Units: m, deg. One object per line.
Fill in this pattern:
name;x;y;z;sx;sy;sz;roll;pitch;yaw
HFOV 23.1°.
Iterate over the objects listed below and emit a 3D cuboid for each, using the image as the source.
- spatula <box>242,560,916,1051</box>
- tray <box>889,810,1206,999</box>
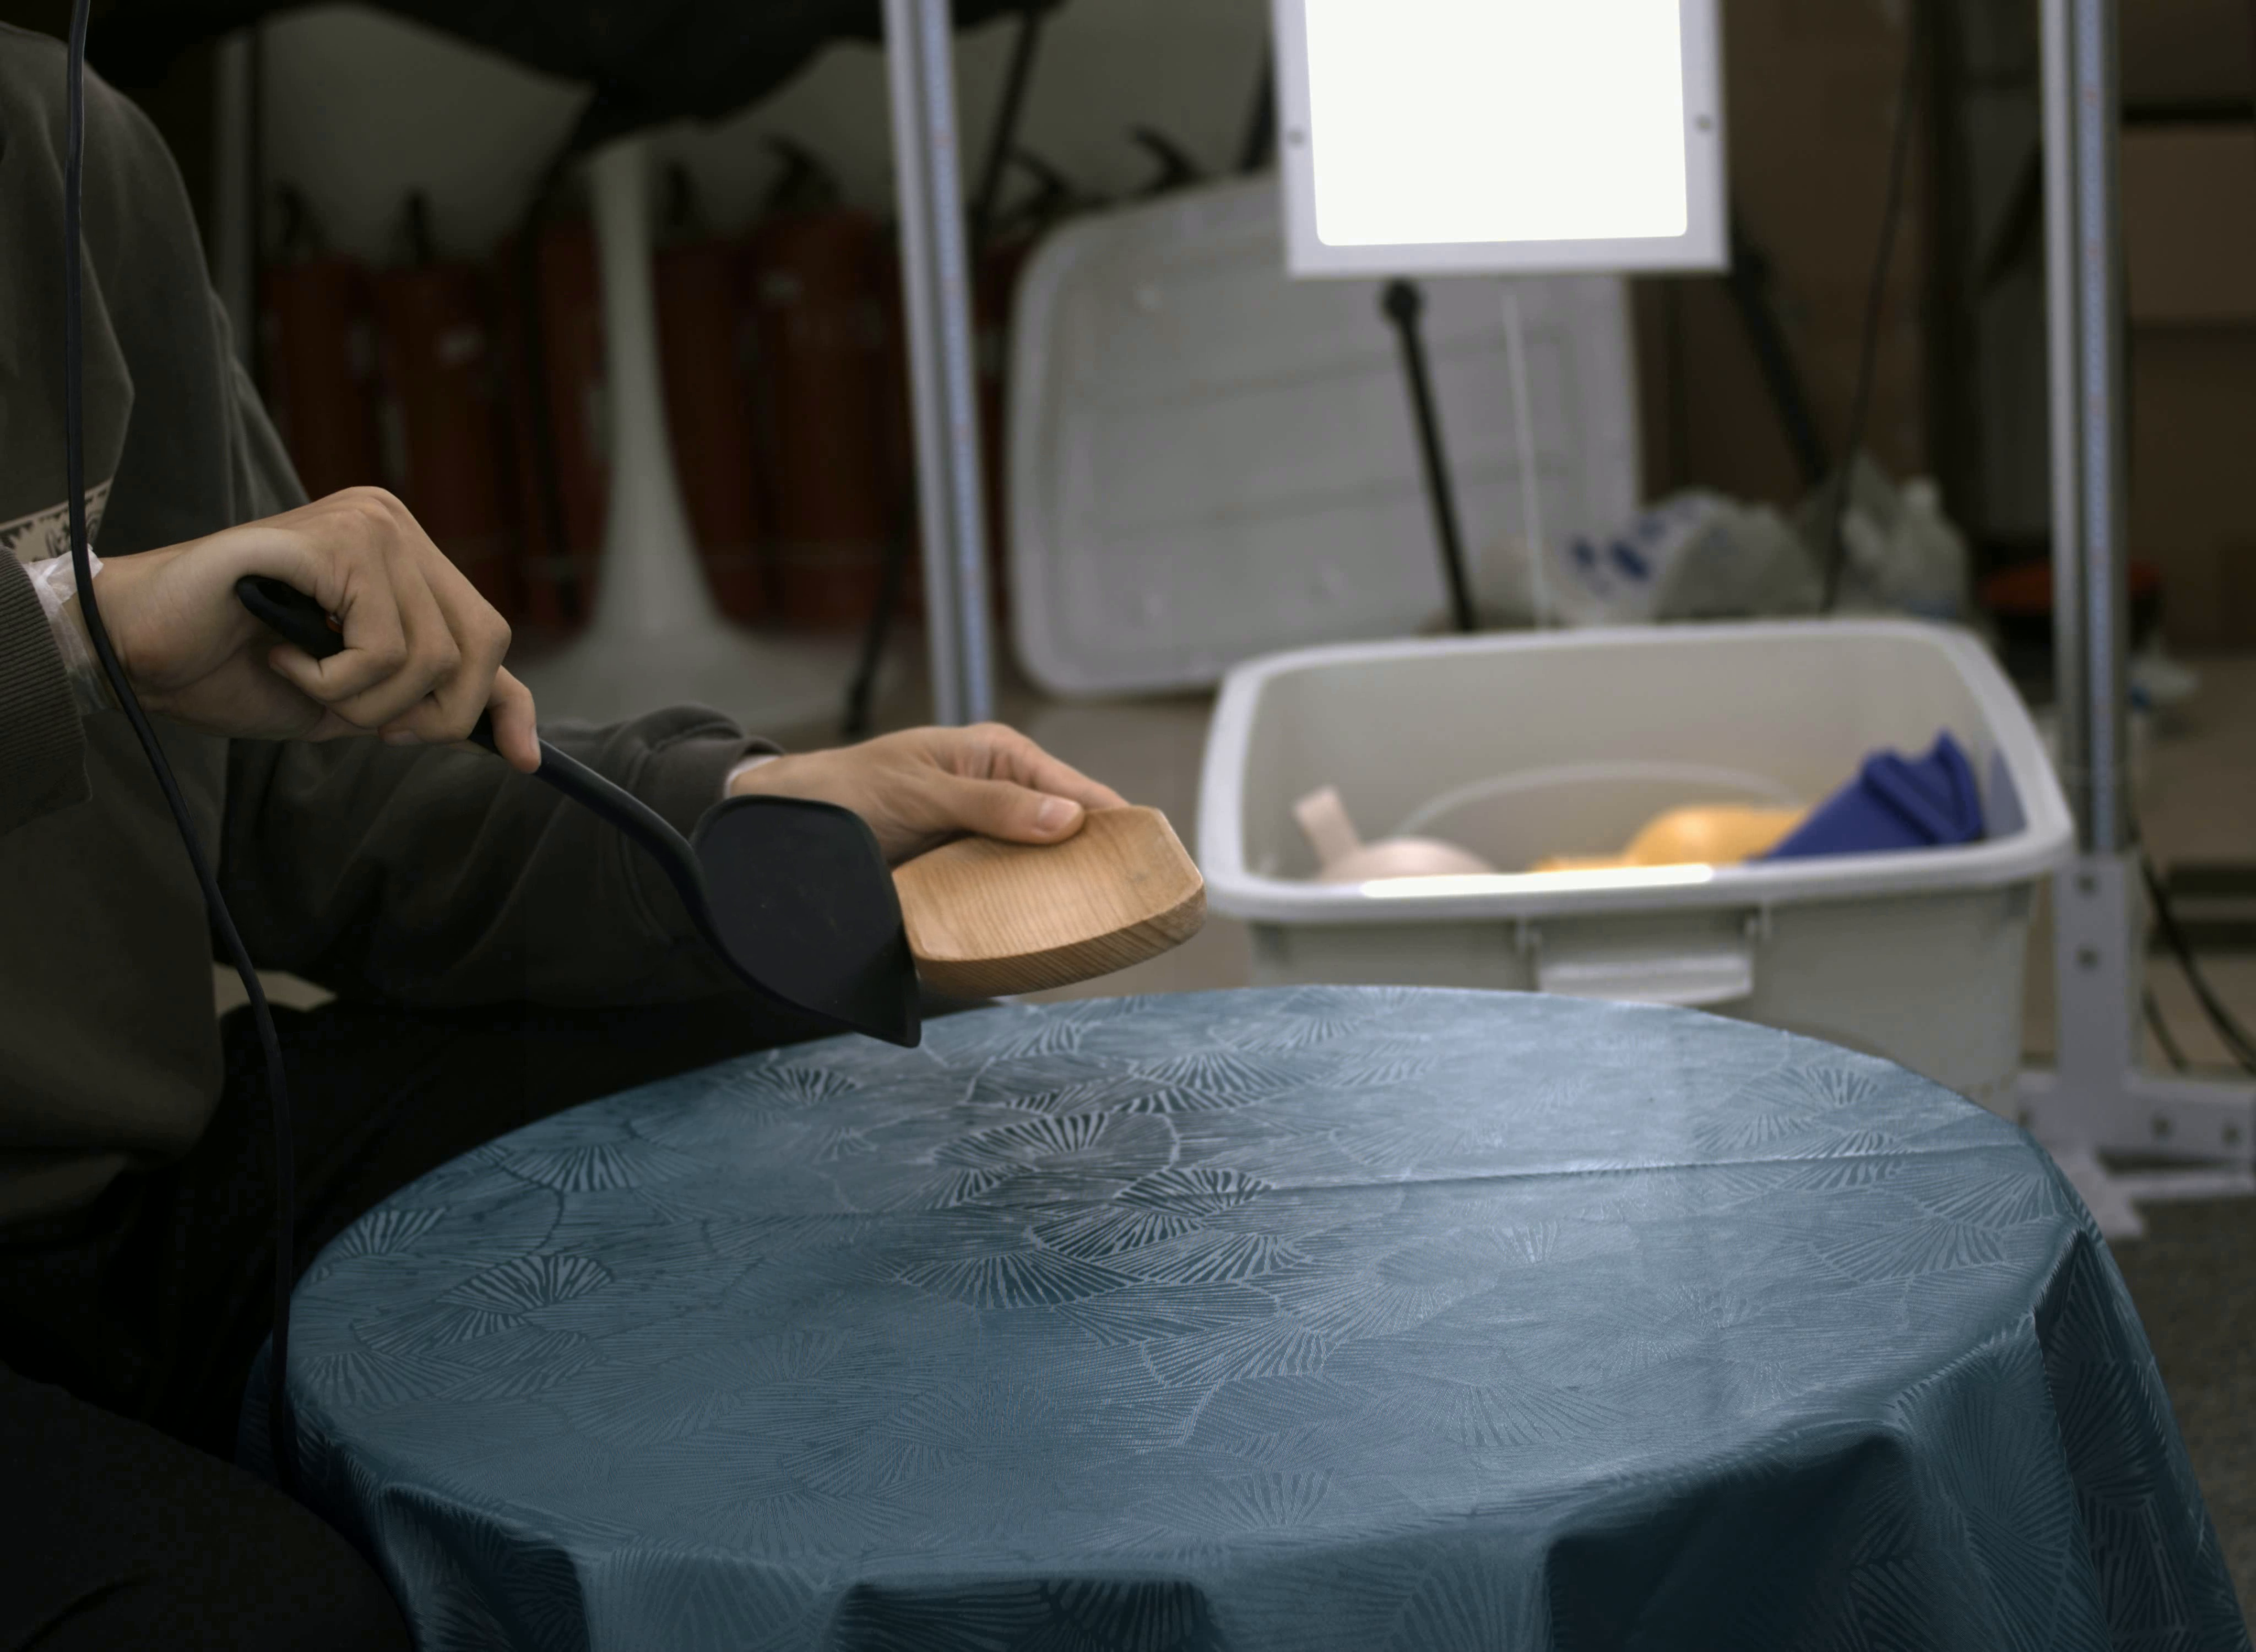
spatula;-0.172;-0.017;1.771;0.041;0.100;0.321;-28;-36;18
tray;-0.029;0.026;1.901;0.101;0.020;0.231;-15;12;-2
